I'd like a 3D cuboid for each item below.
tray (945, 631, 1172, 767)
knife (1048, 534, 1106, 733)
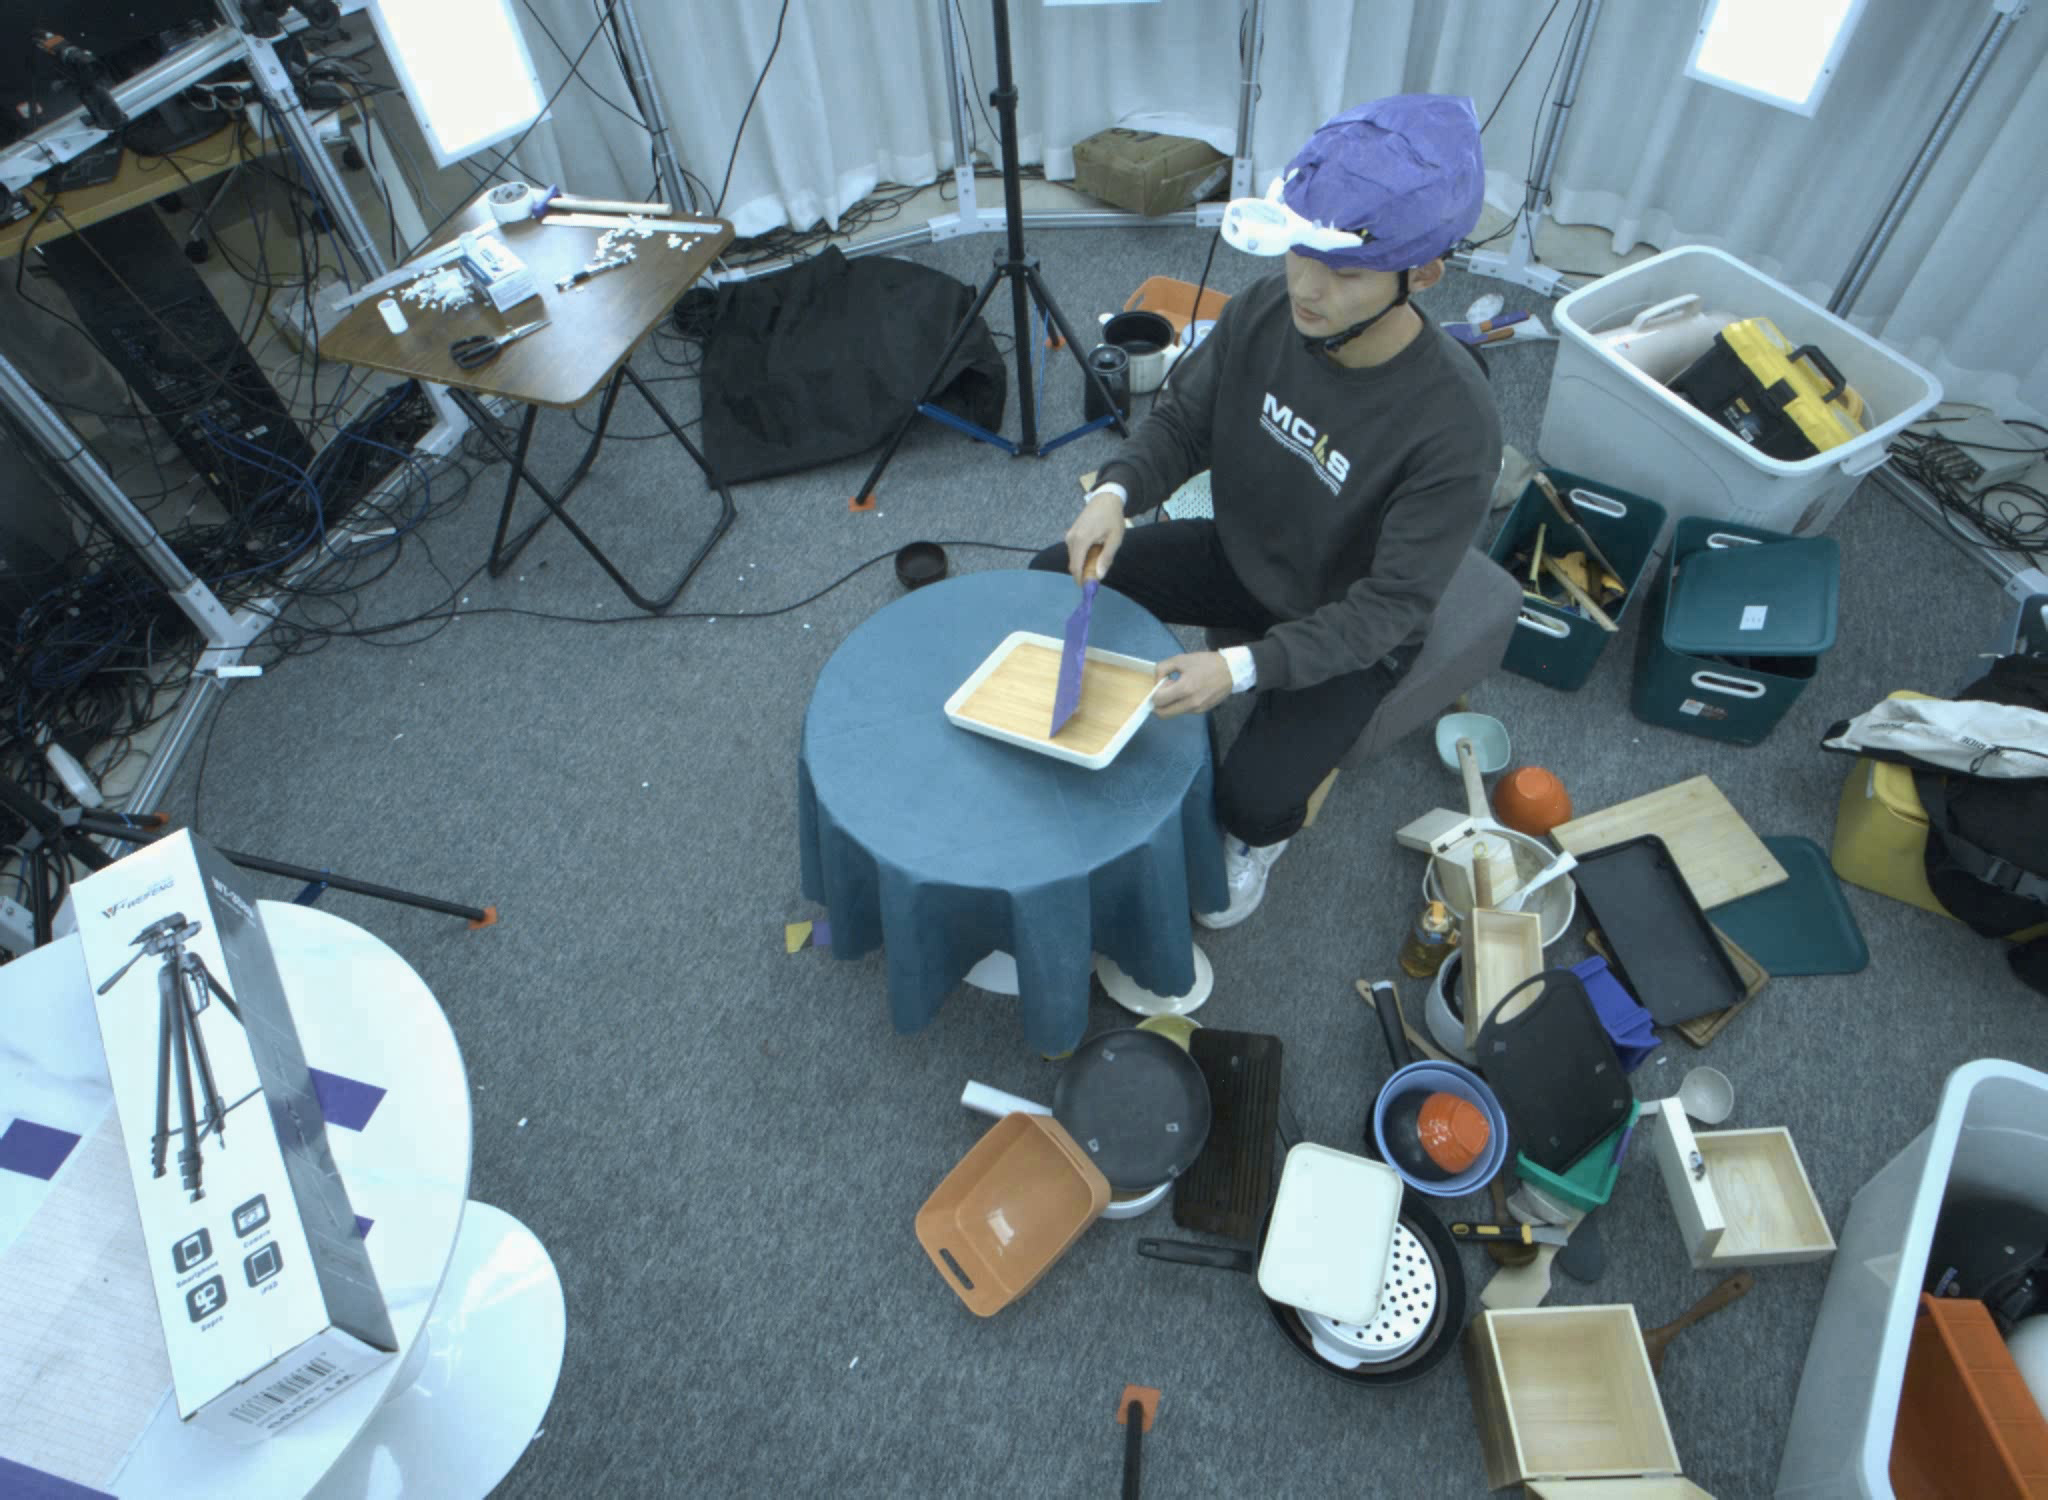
[{"bbox_3d":[0.046,-0.079,1.777,0.293,0.028,0.192,18,55,37],"label":"tray"},{"bbox_3d":[0.071,-0.171,1.768,0.032,0.103,0.313,21,57,-16],"label":"knife"}]
